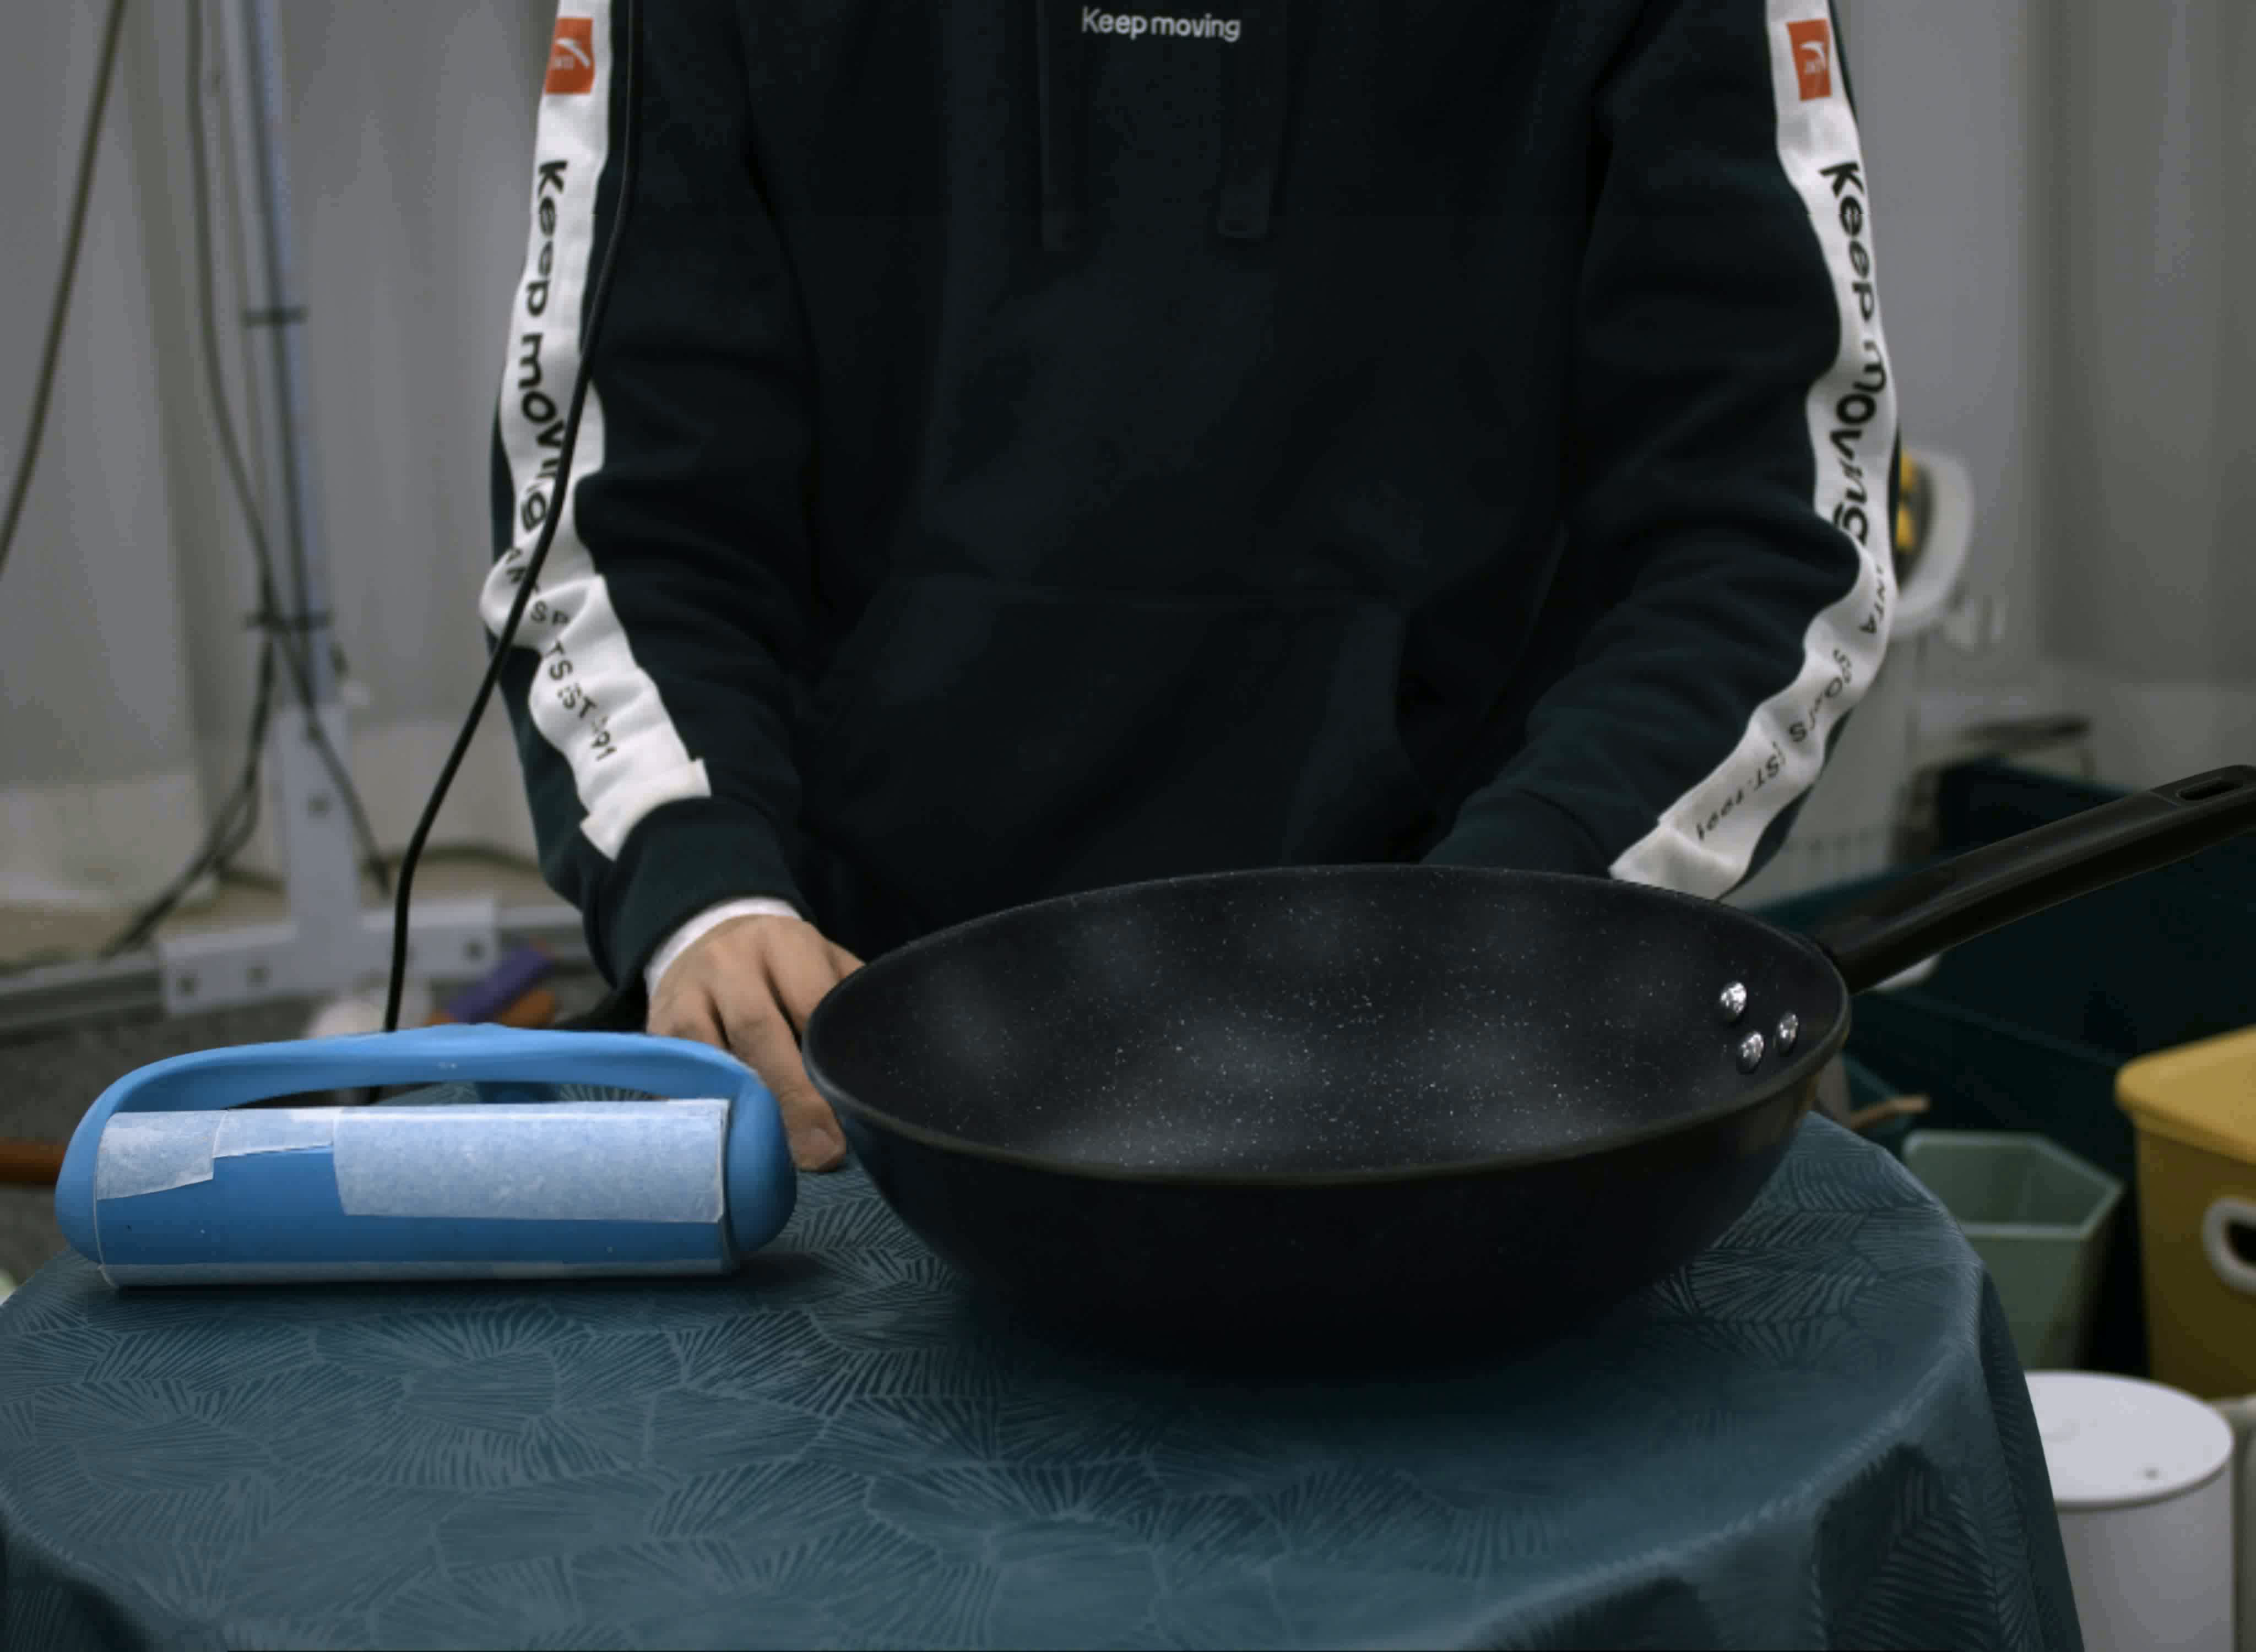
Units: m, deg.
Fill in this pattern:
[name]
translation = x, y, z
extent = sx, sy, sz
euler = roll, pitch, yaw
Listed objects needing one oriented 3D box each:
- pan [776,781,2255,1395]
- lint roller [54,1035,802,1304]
[pan]
translation = 0.130, 0.073, 1.638
extent = 0.475, 0.111, 0.313
euler = -9, 18, -19
[lint roller]
translation = -0.212, 0.096, 1.718
extent = 0.228, 0.067, 0.181
euler = -5, 16, 3
